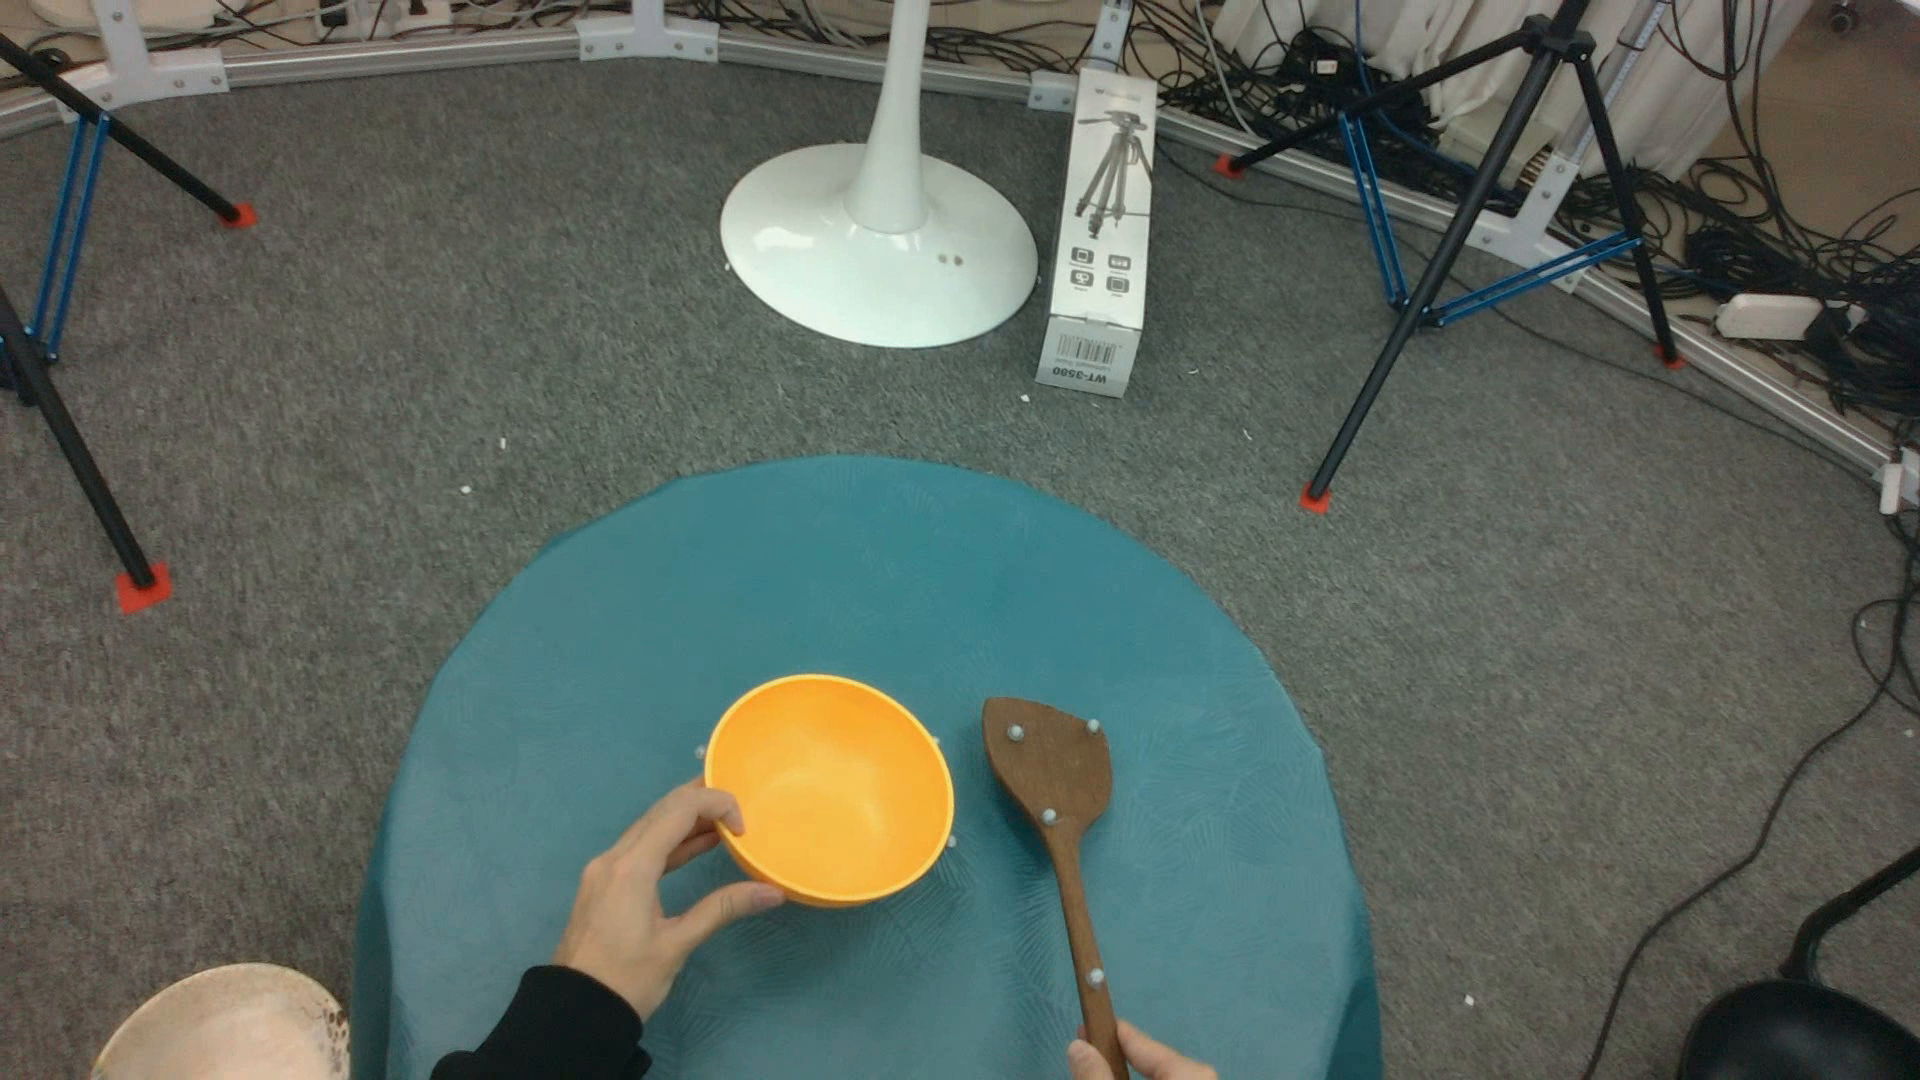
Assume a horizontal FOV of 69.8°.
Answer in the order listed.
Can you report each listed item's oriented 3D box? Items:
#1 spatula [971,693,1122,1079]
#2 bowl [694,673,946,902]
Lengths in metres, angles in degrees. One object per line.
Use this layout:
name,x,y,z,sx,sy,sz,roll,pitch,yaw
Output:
spatula,0.065,0.227,0.765,0.096,0.016,0.387,18,33,-20
bowl,-0.085,0.151,0.794,0.145,0.060,0.146,12,46,-13
